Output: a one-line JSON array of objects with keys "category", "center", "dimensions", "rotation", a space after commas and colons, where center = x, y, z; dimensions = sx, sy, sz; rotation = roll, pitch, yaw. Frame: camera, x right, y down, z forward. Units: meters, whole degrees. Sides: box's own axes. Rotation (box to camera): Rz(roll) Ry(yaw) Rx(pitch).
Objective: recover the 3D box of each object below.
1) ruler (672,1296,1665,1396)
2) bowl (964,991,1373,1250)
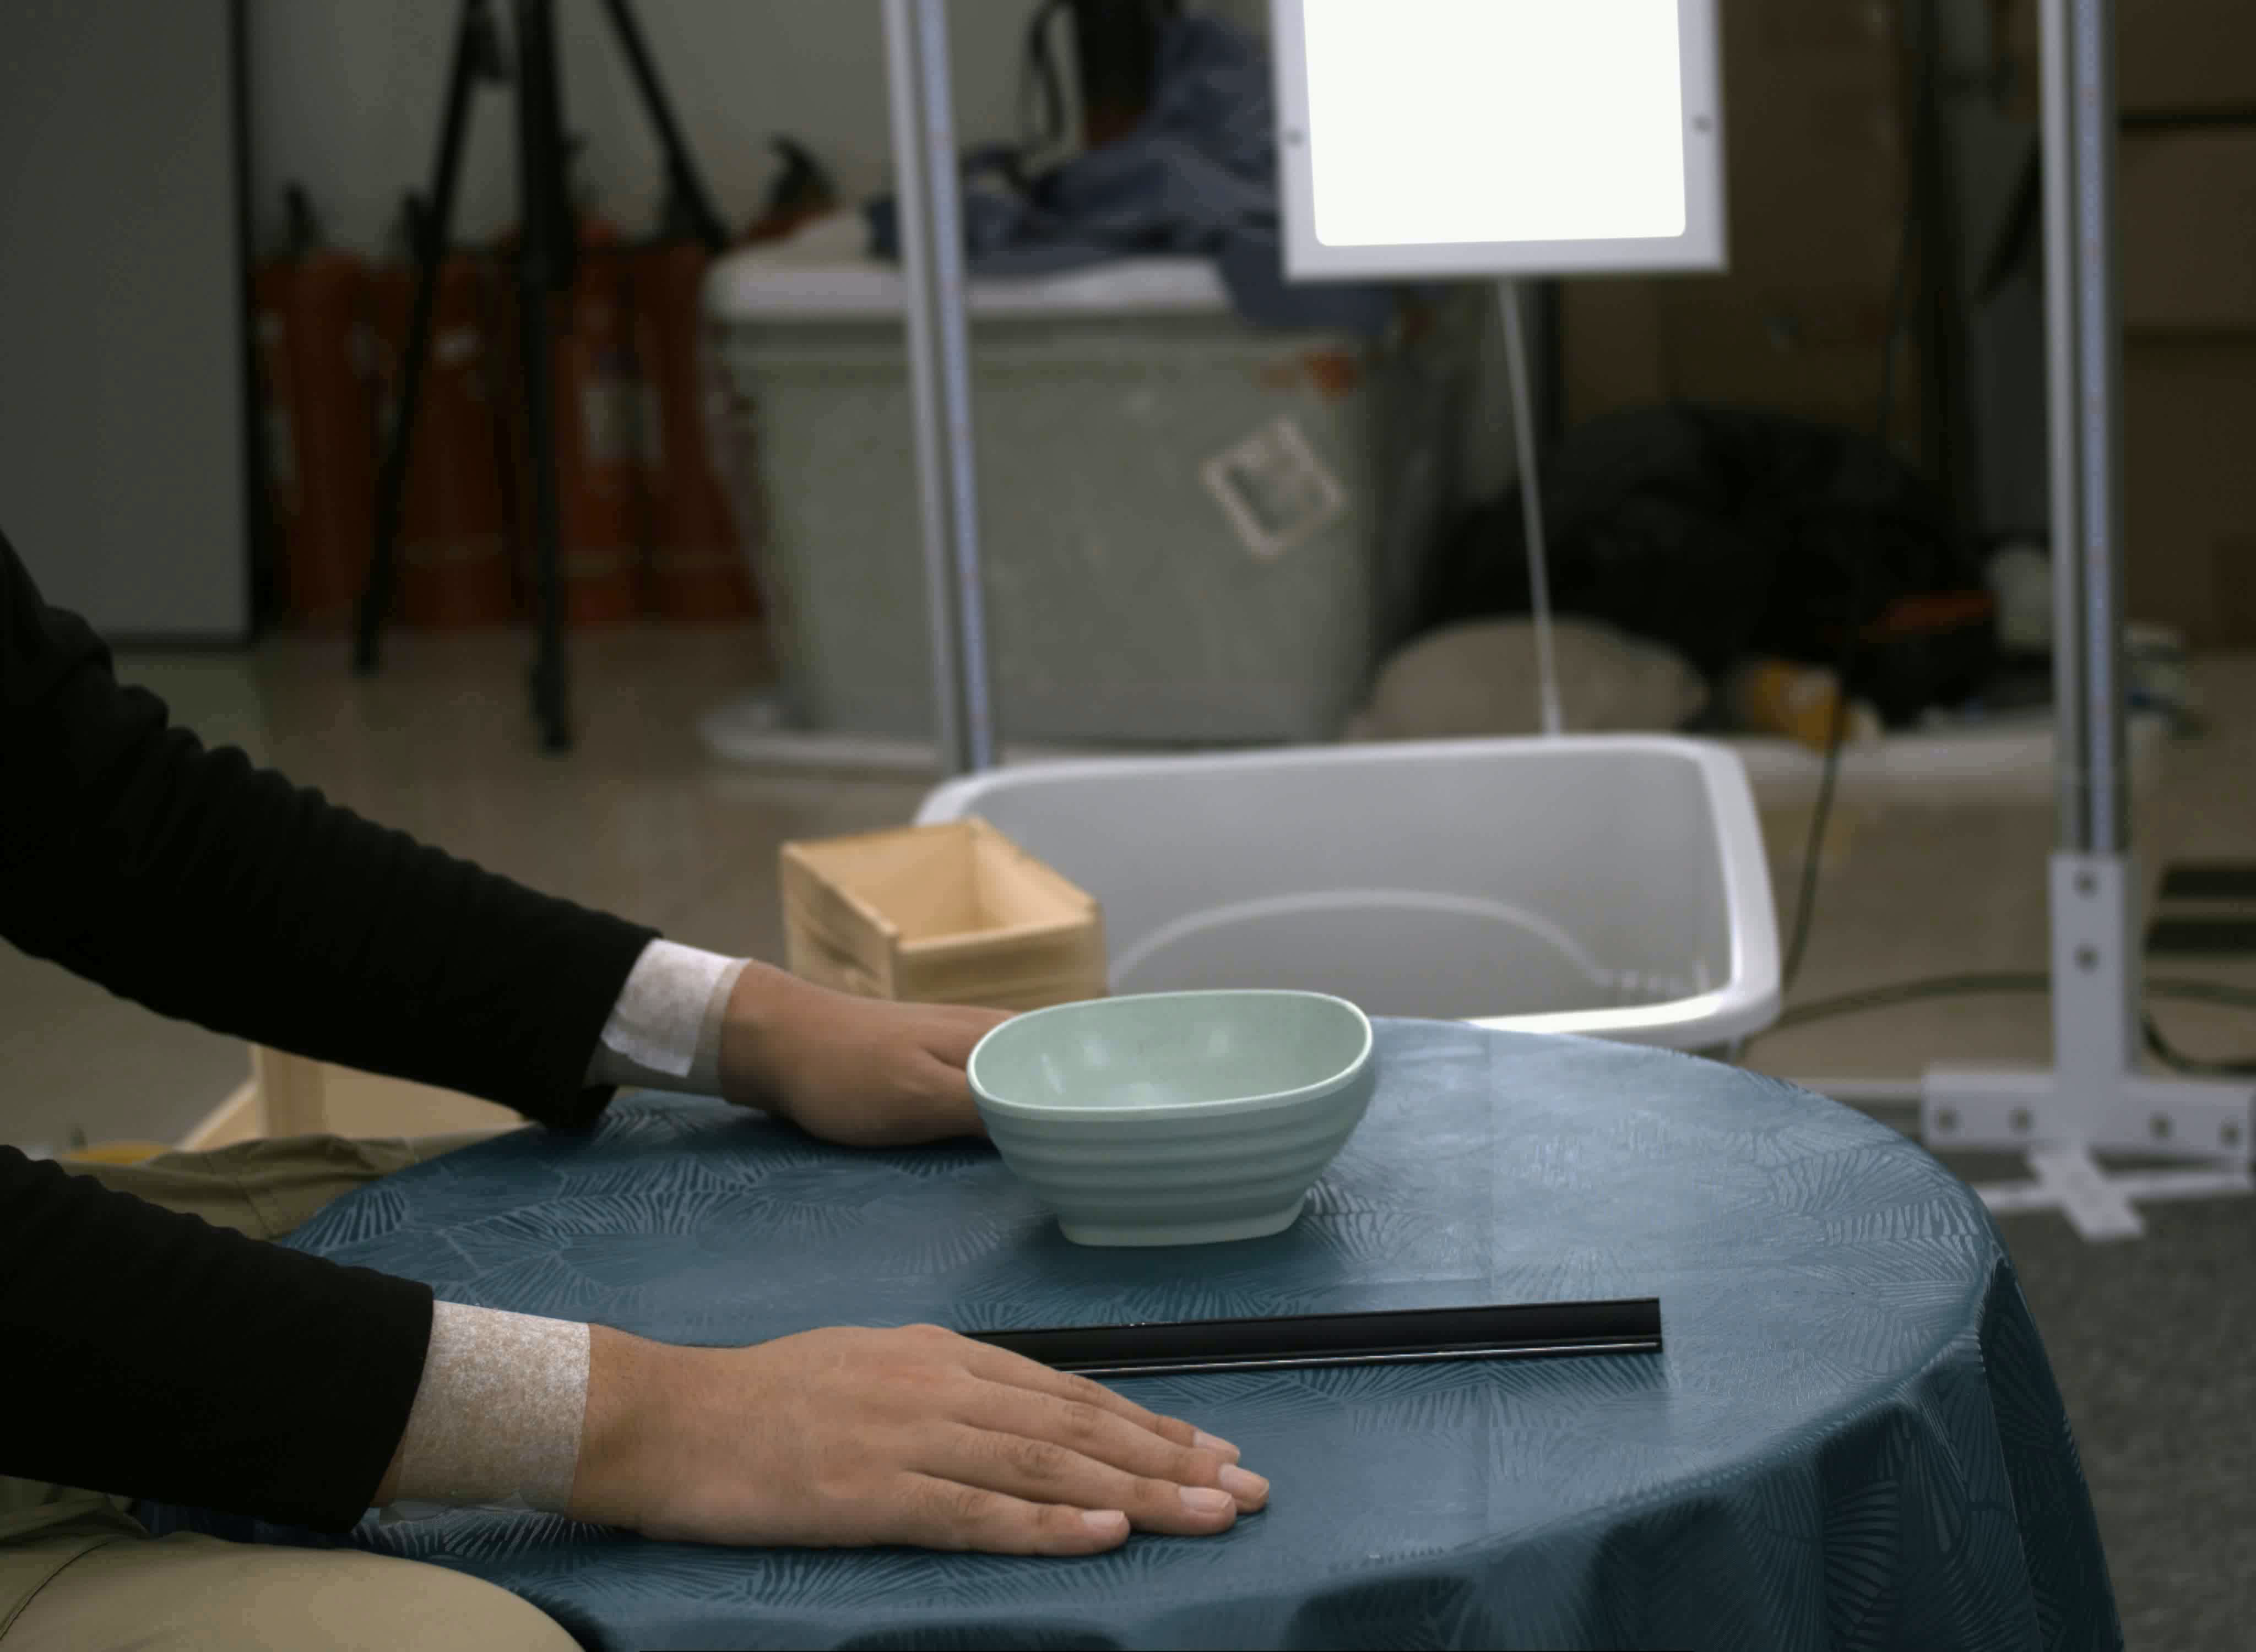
[{"category": "ruler", "center": [0.012, 0.159, 1.729], "dimensions": [0.313, 0.017, 0.039], "rotation": [-3, 10, 8]}, {"category": "bowl", "center": [0.015, 0.103, 1.871], "dimensions": [0.151, 0.059, 0.151], "rotation": [-3, 15, -1]}]
